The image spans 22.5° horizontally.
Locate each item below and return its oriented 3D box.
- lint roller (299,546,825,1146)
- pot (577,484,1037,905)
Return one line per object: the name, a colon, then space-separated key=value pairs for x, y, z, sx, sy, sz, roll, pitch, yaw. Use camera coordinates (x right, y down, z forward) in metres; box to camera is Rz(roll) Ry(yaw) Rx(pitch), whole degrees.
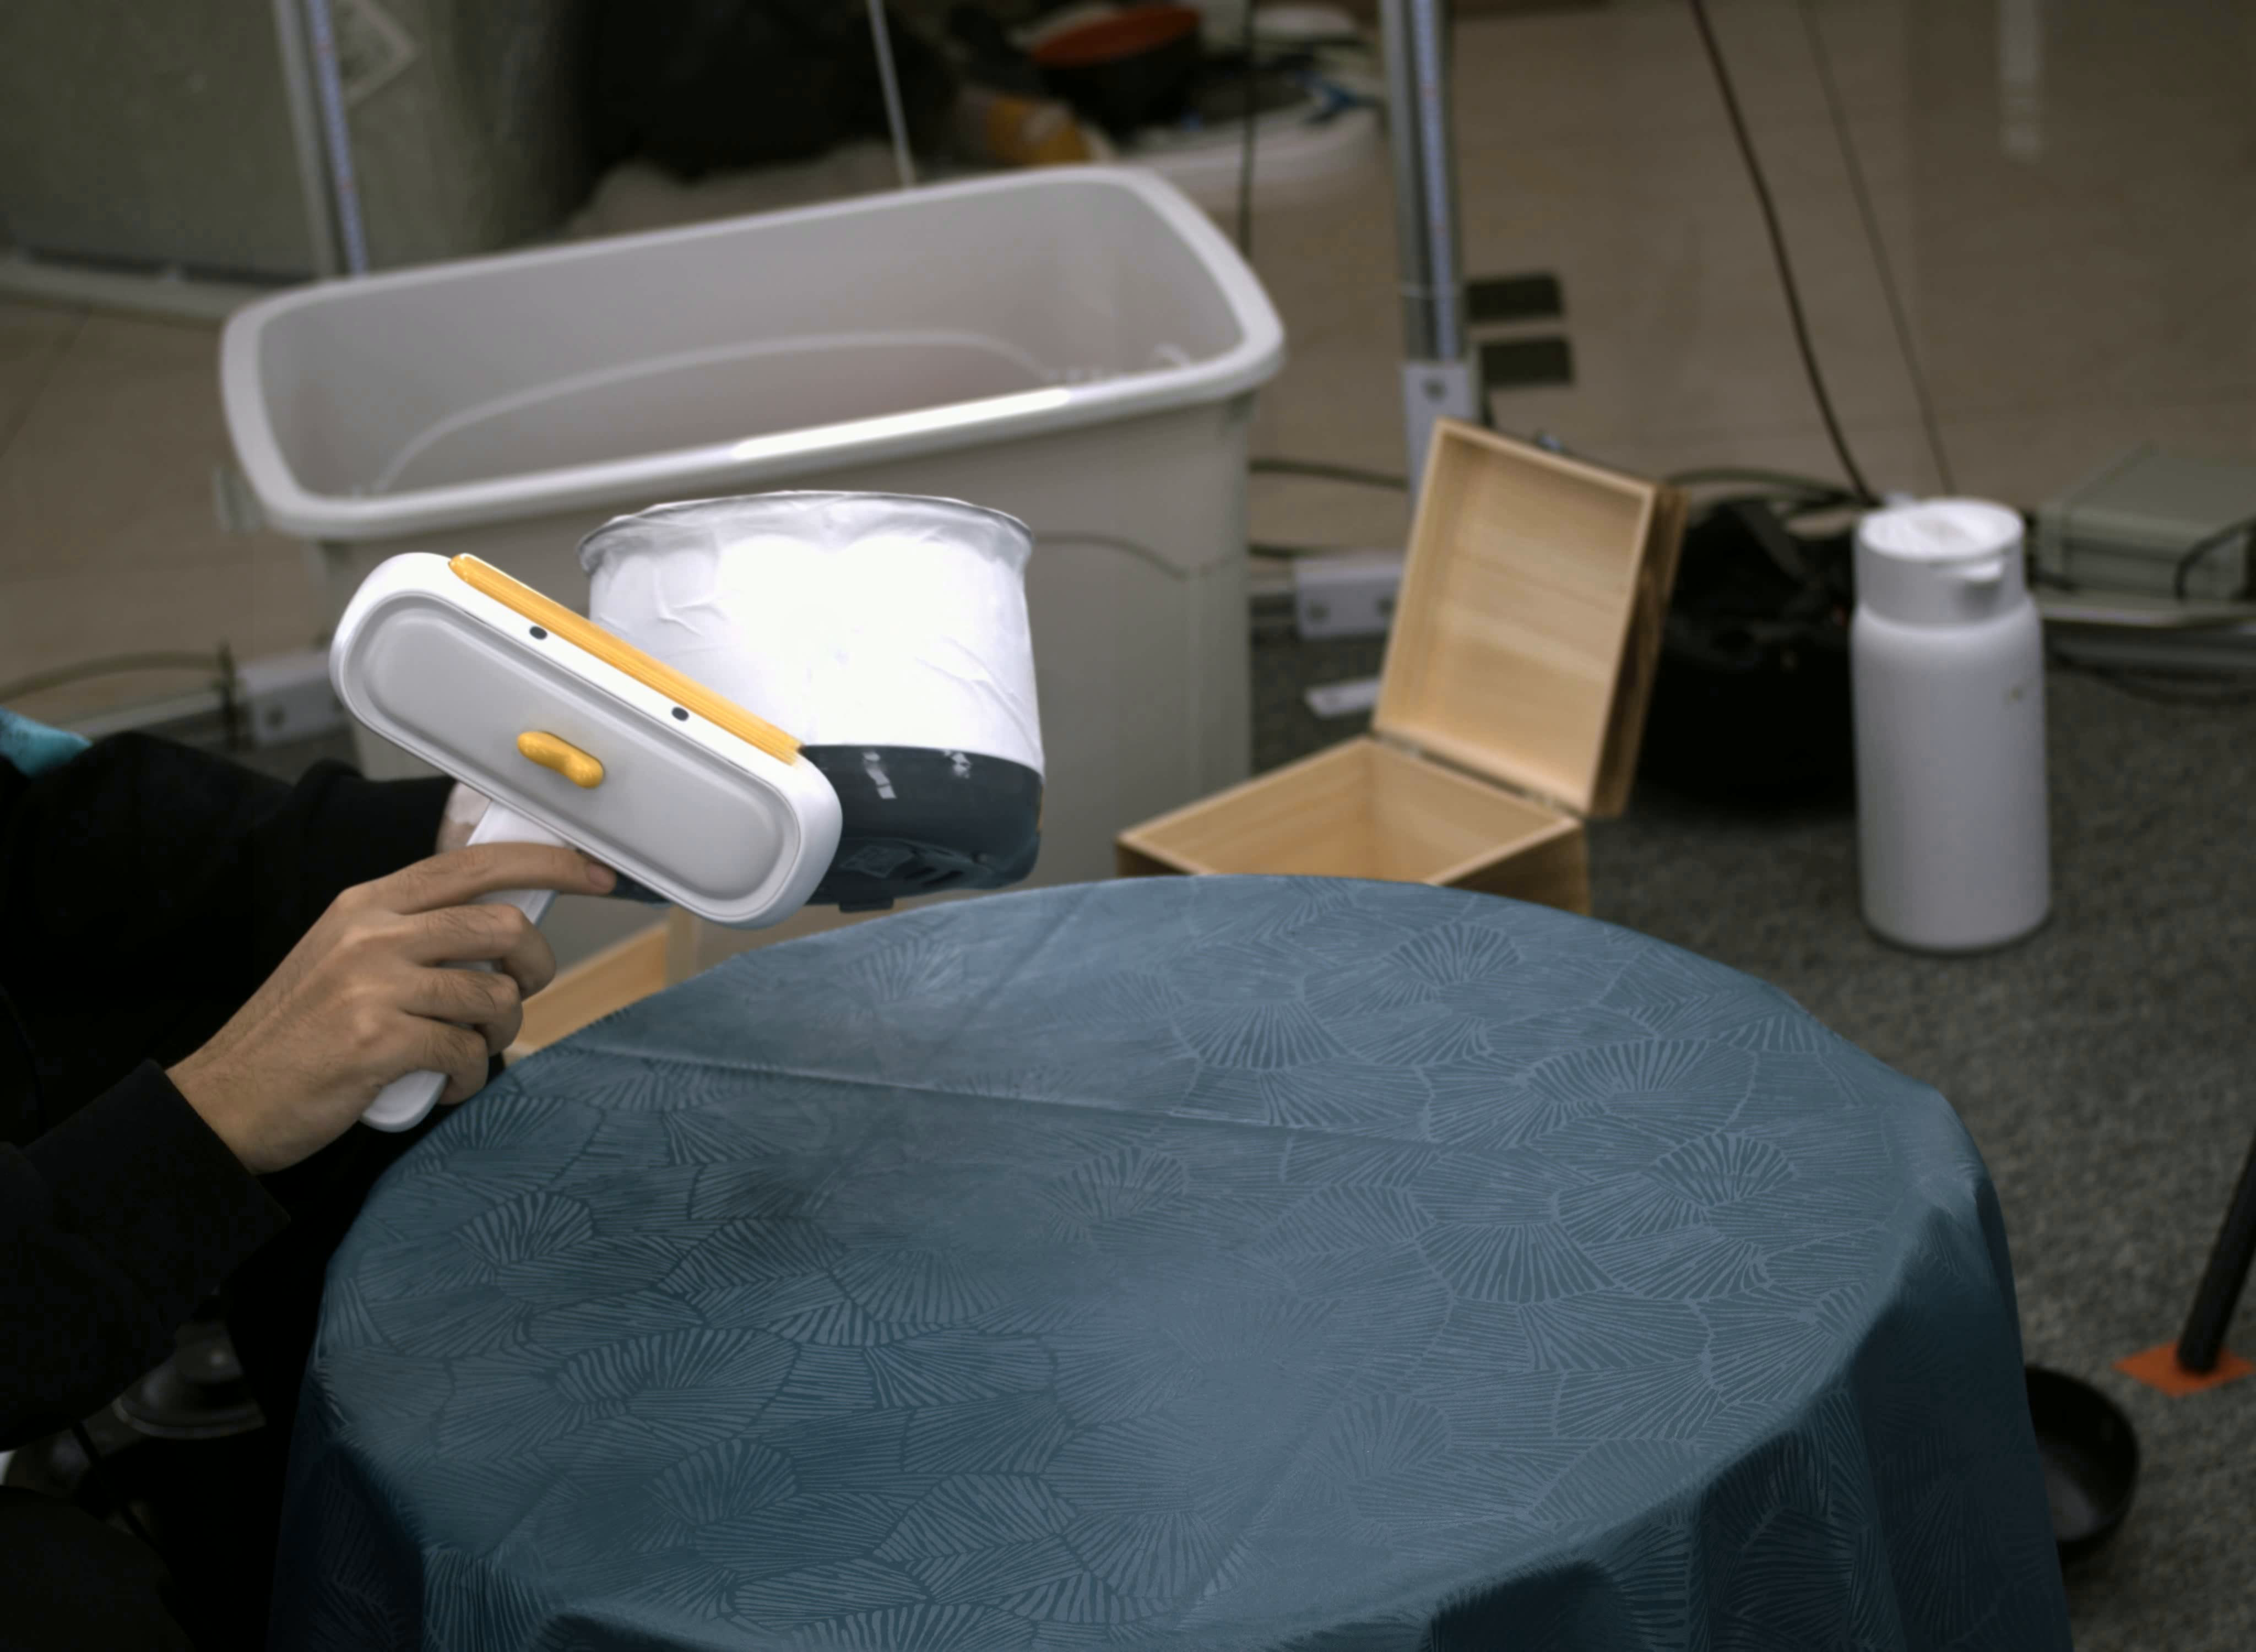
lint roller: x=-0.224 y=0.021 z=1.997 sx=0.193 sy=0.193 sz=0.074 roll=26 pitch=6 yaw=-7
pot: x=-0.137 y=-0.043 z=2.181 sx=0.179 sy=0.136 sz=0.234 roll=6 pitch=-11 yaw=-31
